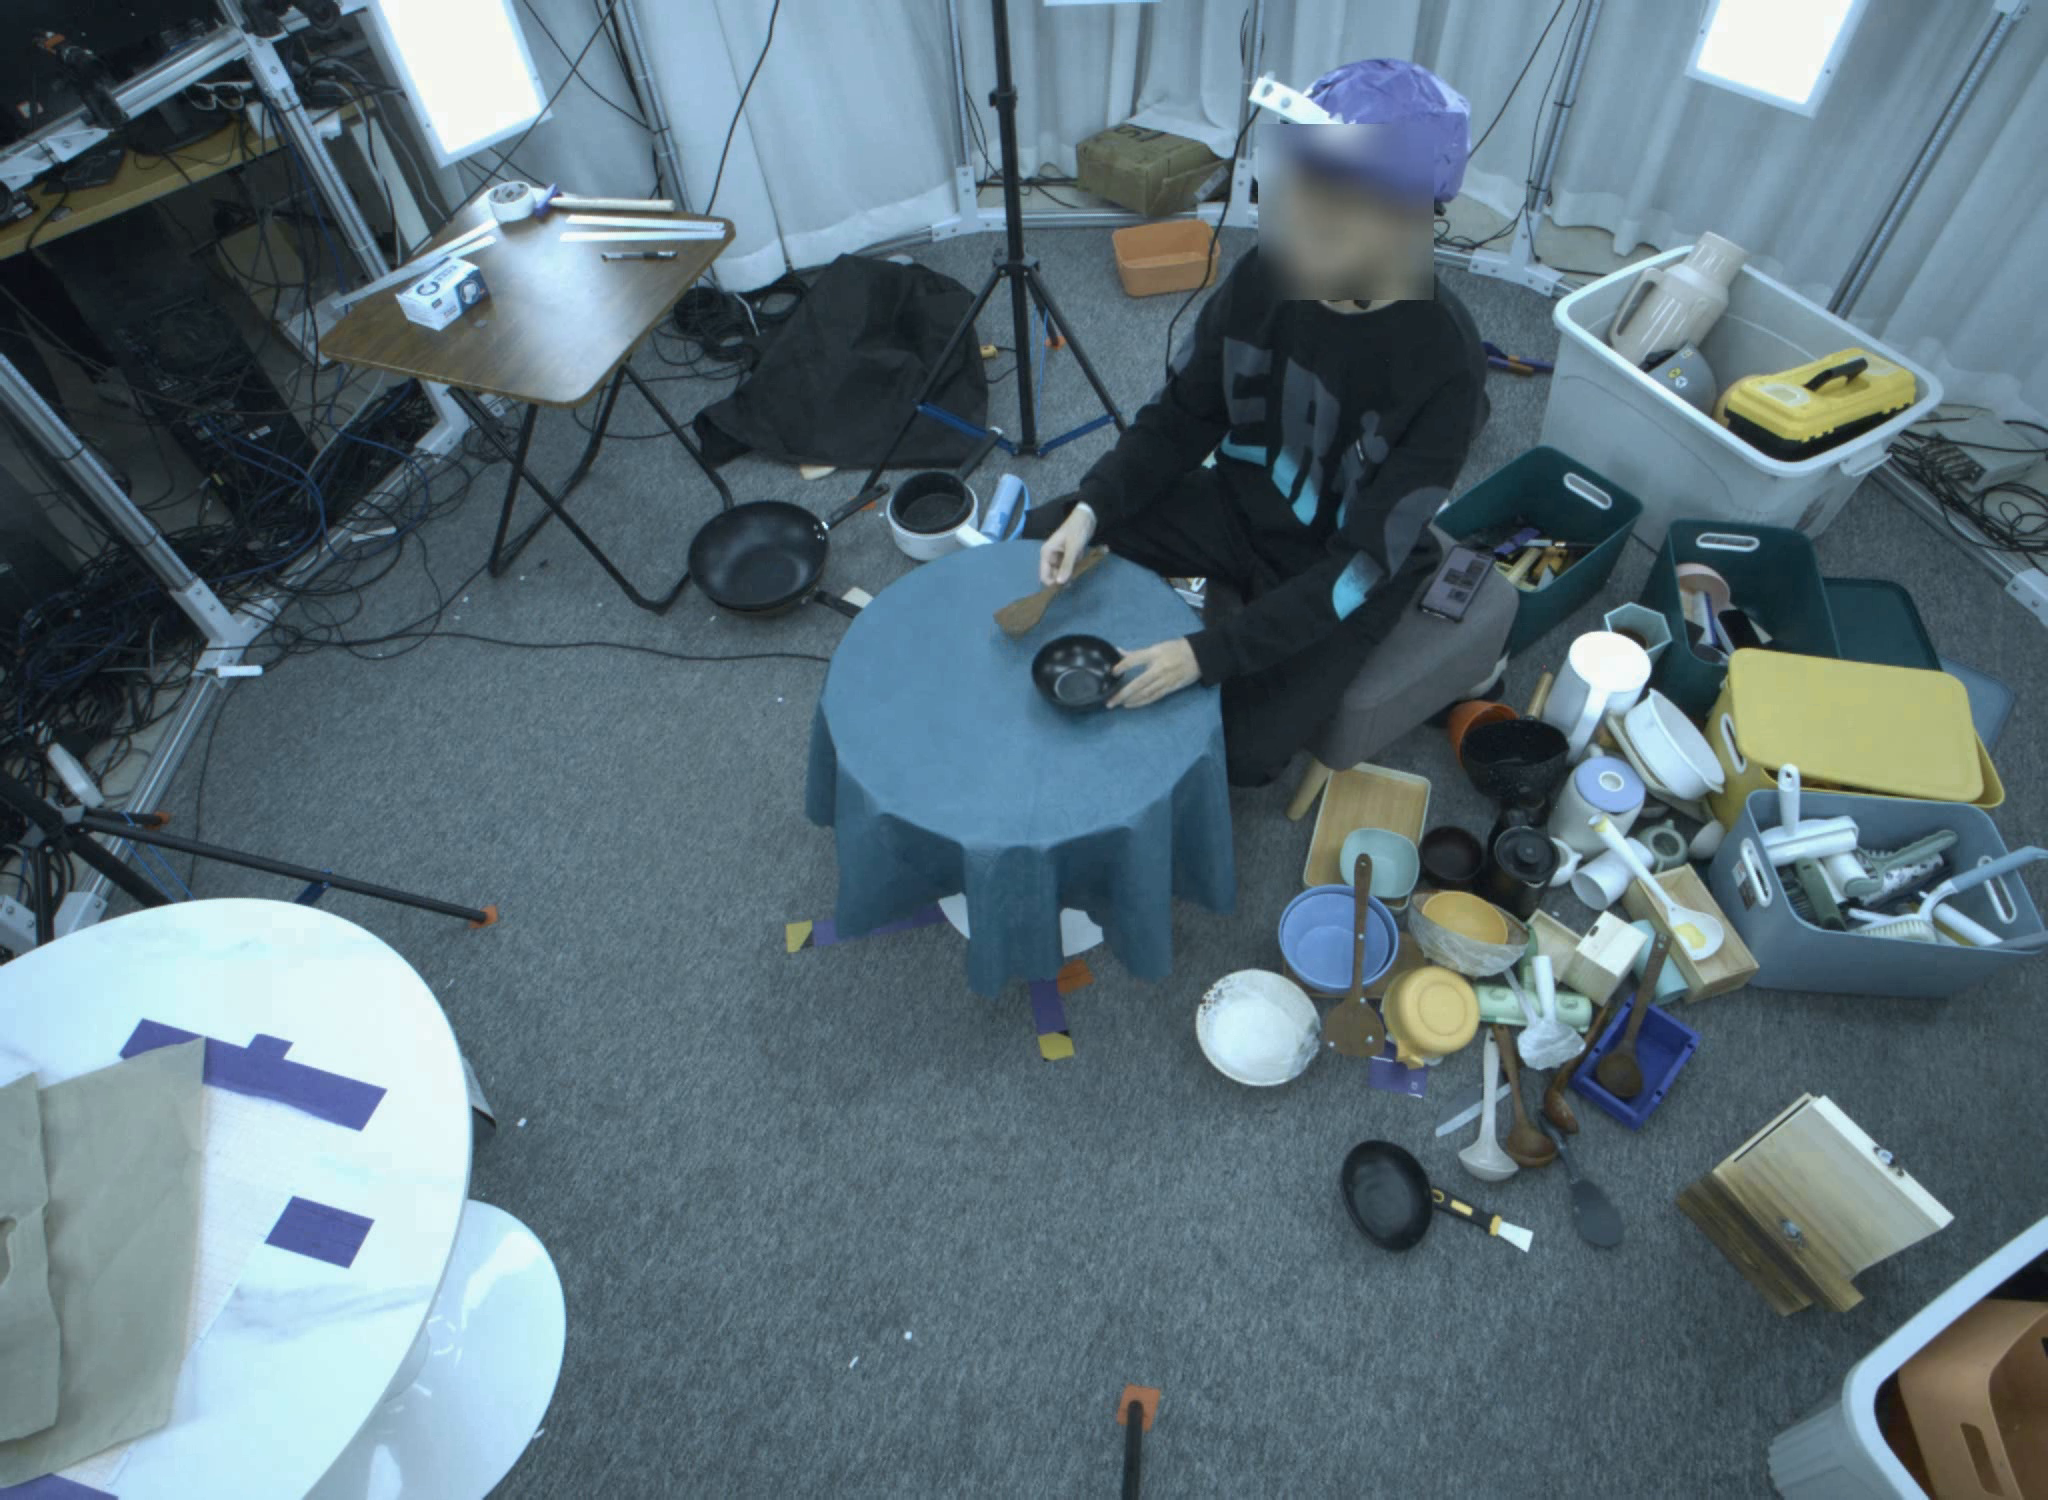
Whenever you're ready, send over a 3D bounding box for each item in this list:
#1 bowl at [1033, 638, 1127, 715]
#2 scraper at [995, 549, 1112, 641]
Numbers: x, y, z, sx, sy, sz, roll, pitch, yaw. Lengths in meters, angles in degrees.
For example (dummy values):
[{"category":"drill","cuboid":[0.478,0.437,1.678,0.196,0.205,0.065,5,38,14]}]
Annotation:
[{"category":"bowl","cuboid":[0.084,-0.100,1.837,0.140,0.050,0.138,-1,52,3]},{"category":"scraper","cuboid":[0.050,-0.244,1.903,0.212,0.011,0.074,-39,52,-8]}]
